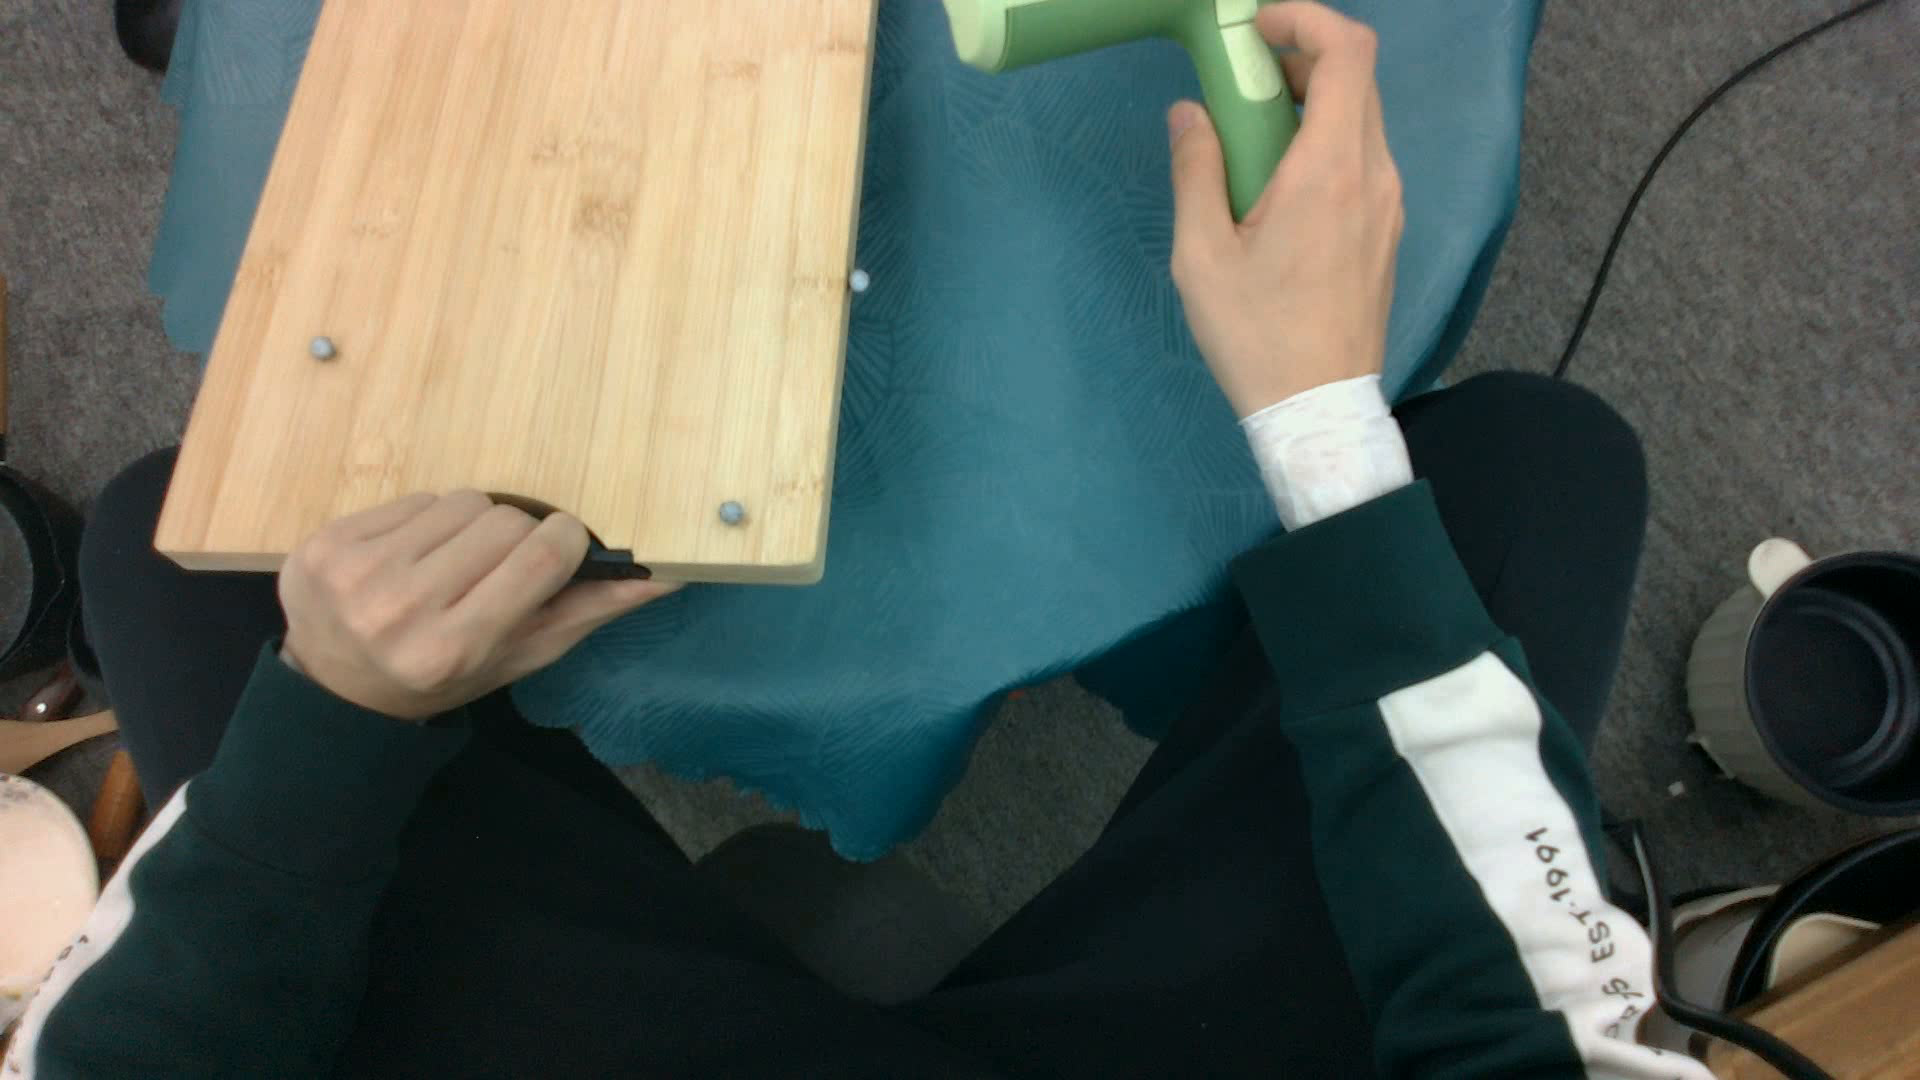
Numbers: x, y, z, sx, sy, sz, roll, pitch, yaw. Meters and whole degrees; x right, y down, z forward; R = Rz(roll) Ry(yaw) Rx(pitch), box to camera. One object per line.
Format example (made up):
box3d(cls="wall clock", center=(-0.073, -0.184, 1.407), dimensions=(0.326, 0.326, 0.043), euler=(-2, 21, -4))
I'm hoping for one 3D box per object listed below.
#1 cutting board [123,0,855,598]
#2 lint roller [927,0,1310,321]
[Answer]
box3d(cls="cutting board", center=(-0.171, -0.139, 0.562), dimensions=(0.250, 0.023, 0.350), euler=(-1, 65, 3))
box3d(cls="lint roller", center=(0.101, -0.177, 0.508), dimensions=(0.199, 0.082, 0.183), euler=(-16, 84, -14))
